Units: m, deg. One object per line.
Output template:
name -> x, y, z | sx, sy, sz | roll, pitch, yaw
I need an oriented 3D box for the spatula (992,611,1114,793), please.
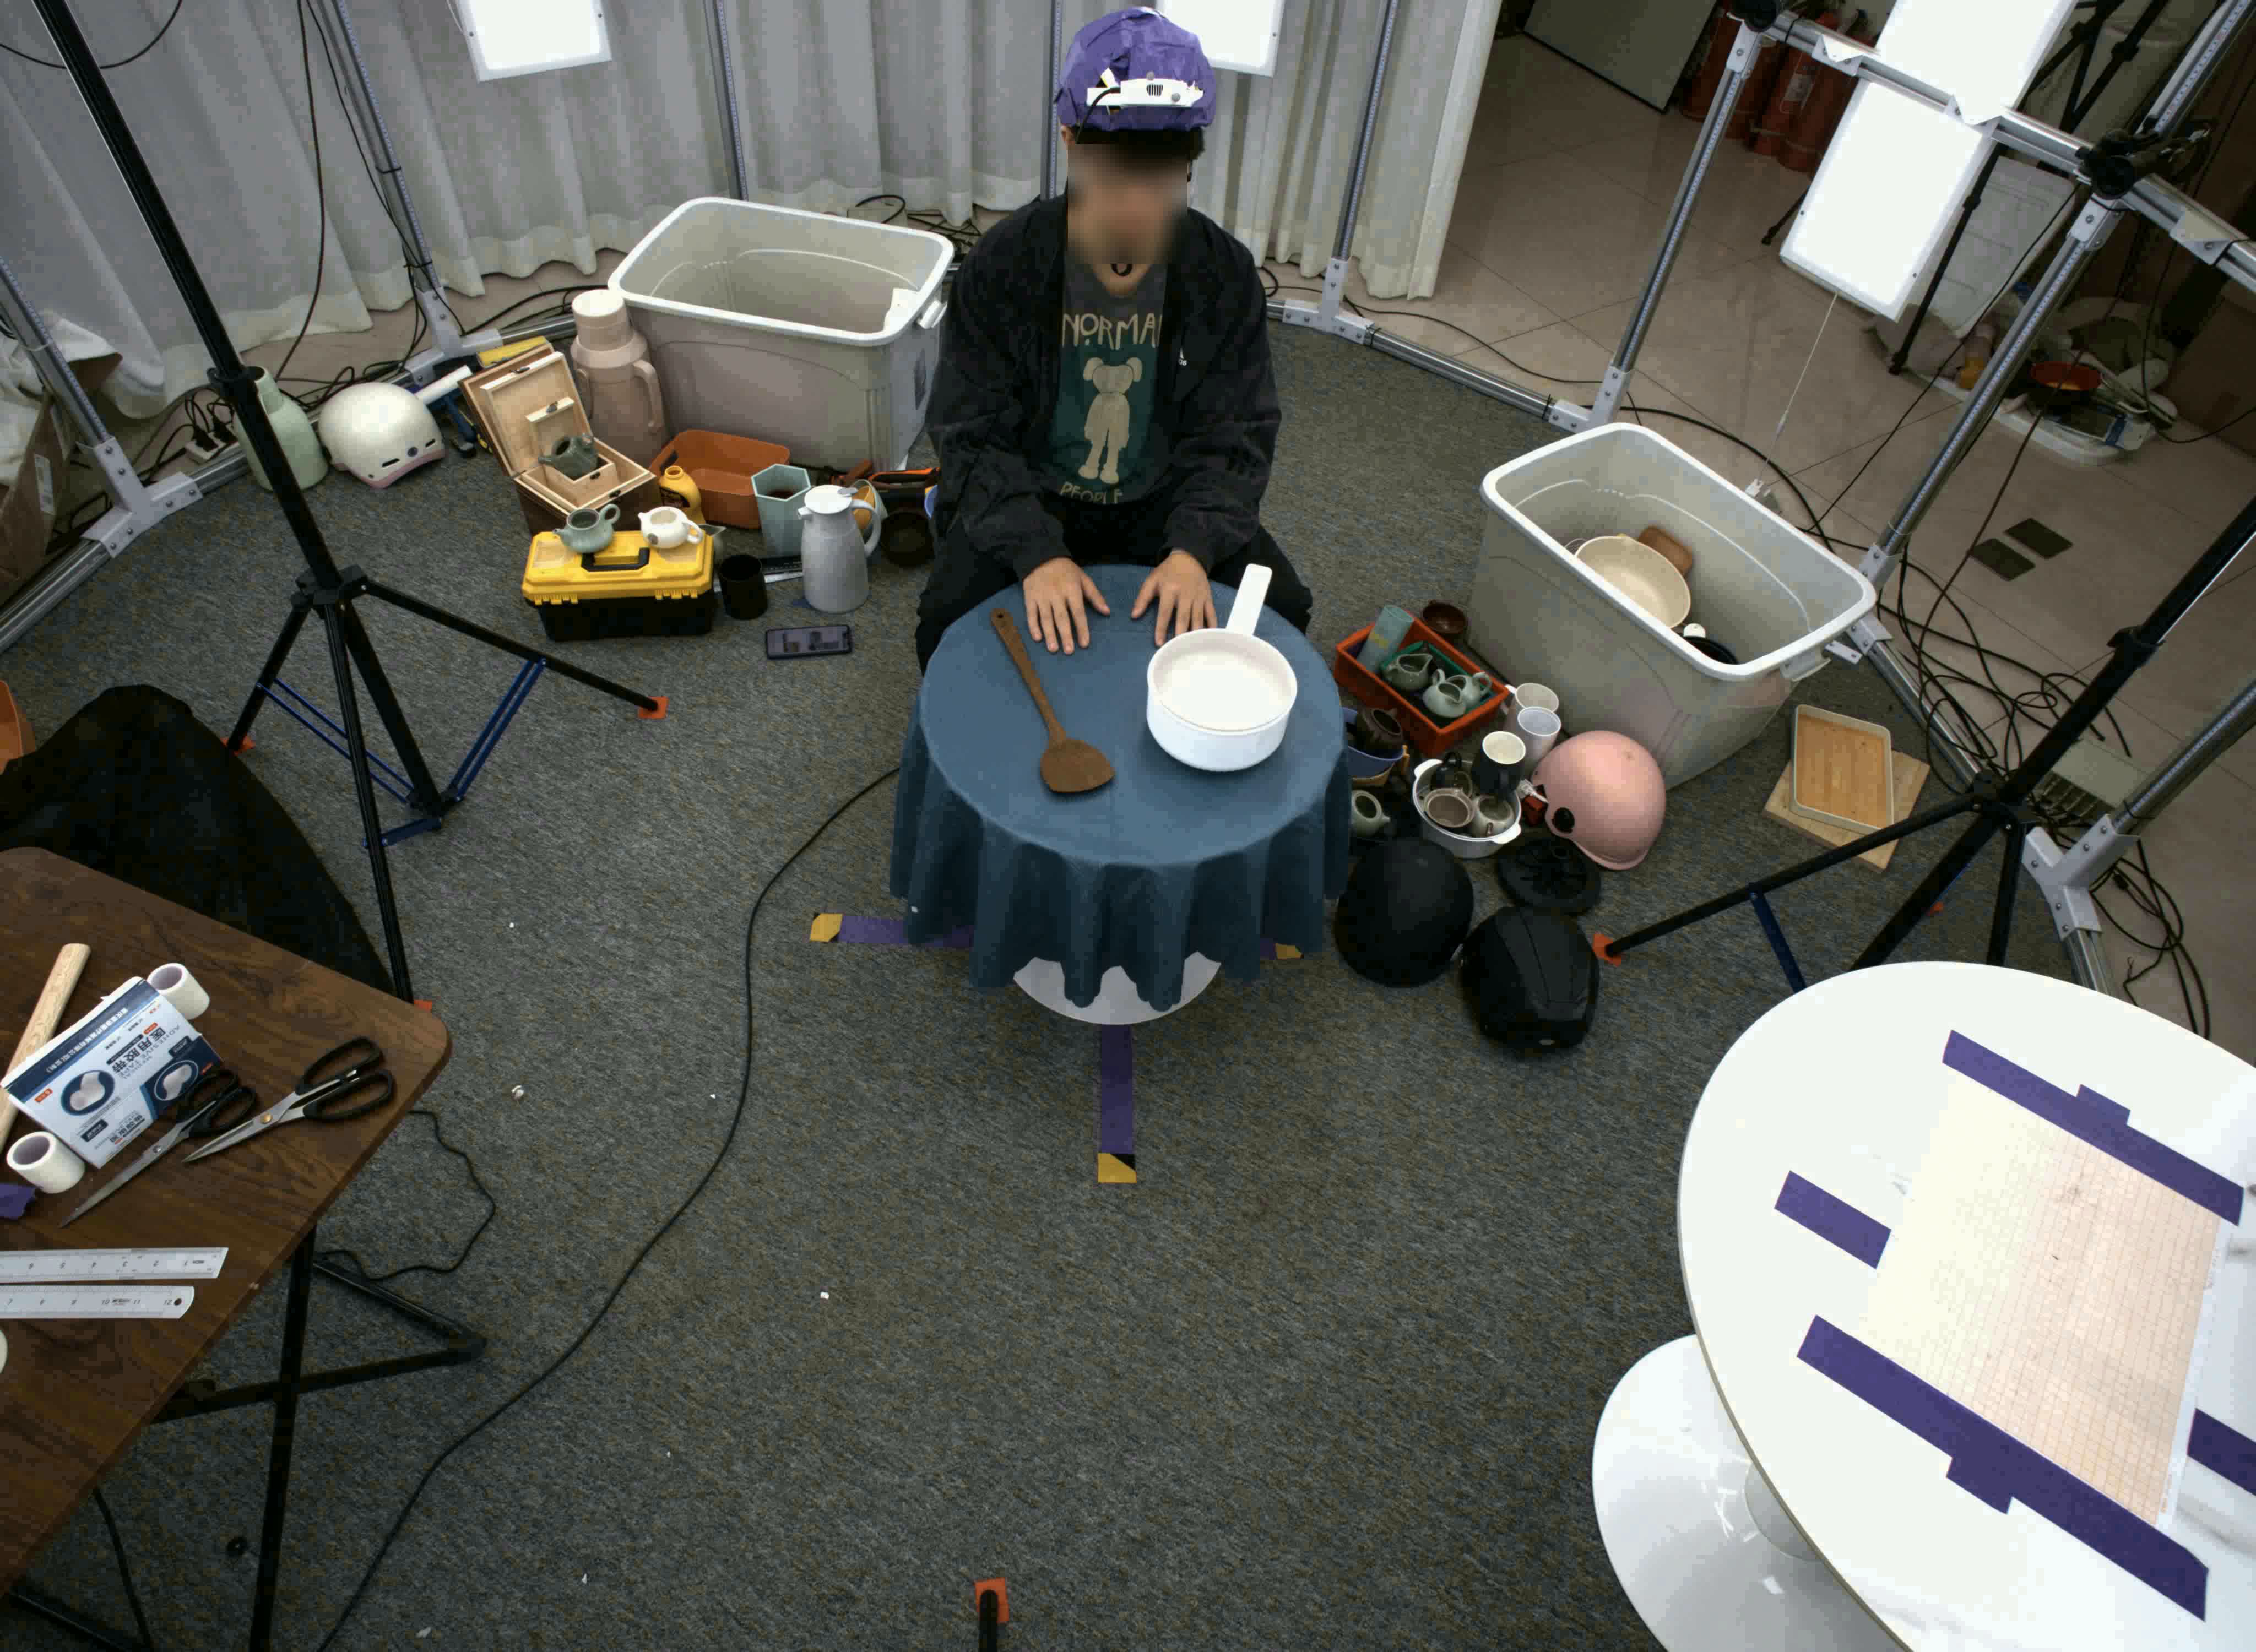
spatula -> -0.125, -0.185, 1.811 | 0.096, 0.015, 0.395 | -14, 50, -16

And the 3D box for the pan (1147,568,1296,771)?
pan -> 0.144, -0.222, 1.807 | 0.202, 0.099, 0.362 | 13, 47, 9
